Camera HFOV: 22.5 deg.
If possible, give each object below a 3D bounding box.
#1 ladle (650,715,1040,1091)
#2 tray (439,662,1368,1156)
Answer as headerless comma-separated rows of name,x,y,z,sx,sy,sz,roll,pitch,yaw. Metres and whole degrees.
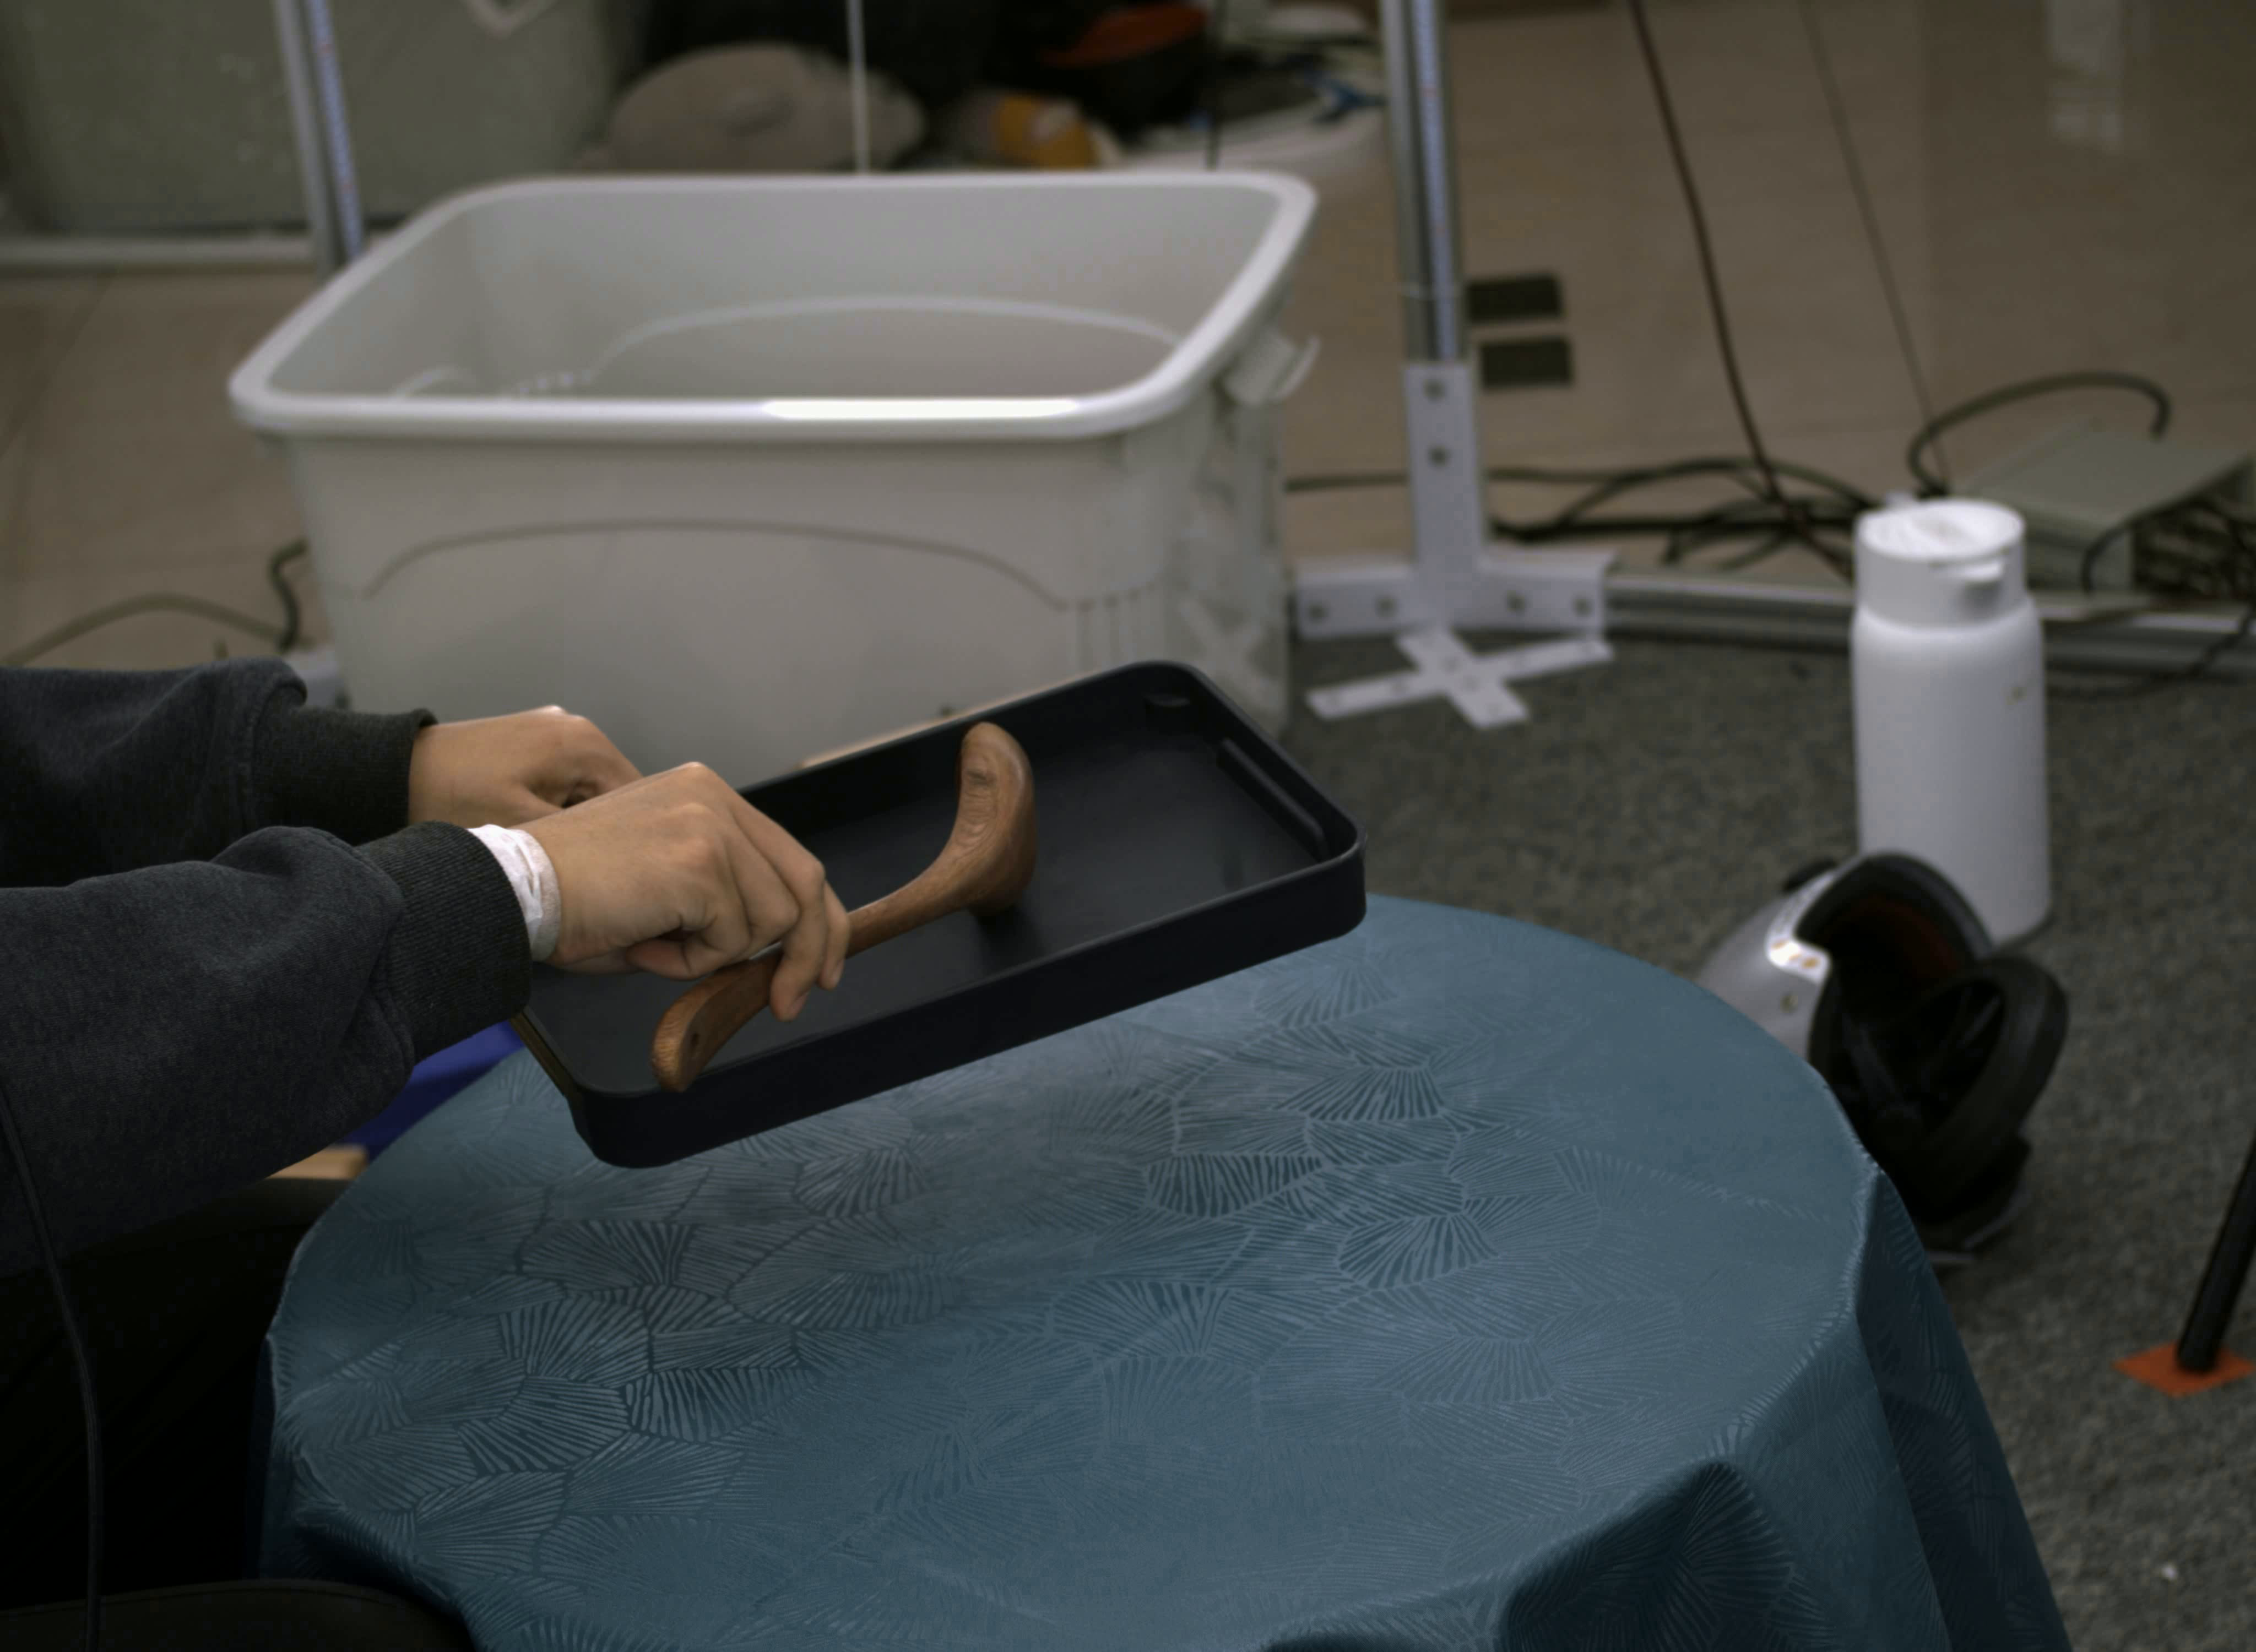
ladle,-0.109,0.032,2.056,0.065,0.078,0.257,12,29,33
tray,-0.084,0.027,2.124,0.316,0.038,0.182,-17,33,-19
